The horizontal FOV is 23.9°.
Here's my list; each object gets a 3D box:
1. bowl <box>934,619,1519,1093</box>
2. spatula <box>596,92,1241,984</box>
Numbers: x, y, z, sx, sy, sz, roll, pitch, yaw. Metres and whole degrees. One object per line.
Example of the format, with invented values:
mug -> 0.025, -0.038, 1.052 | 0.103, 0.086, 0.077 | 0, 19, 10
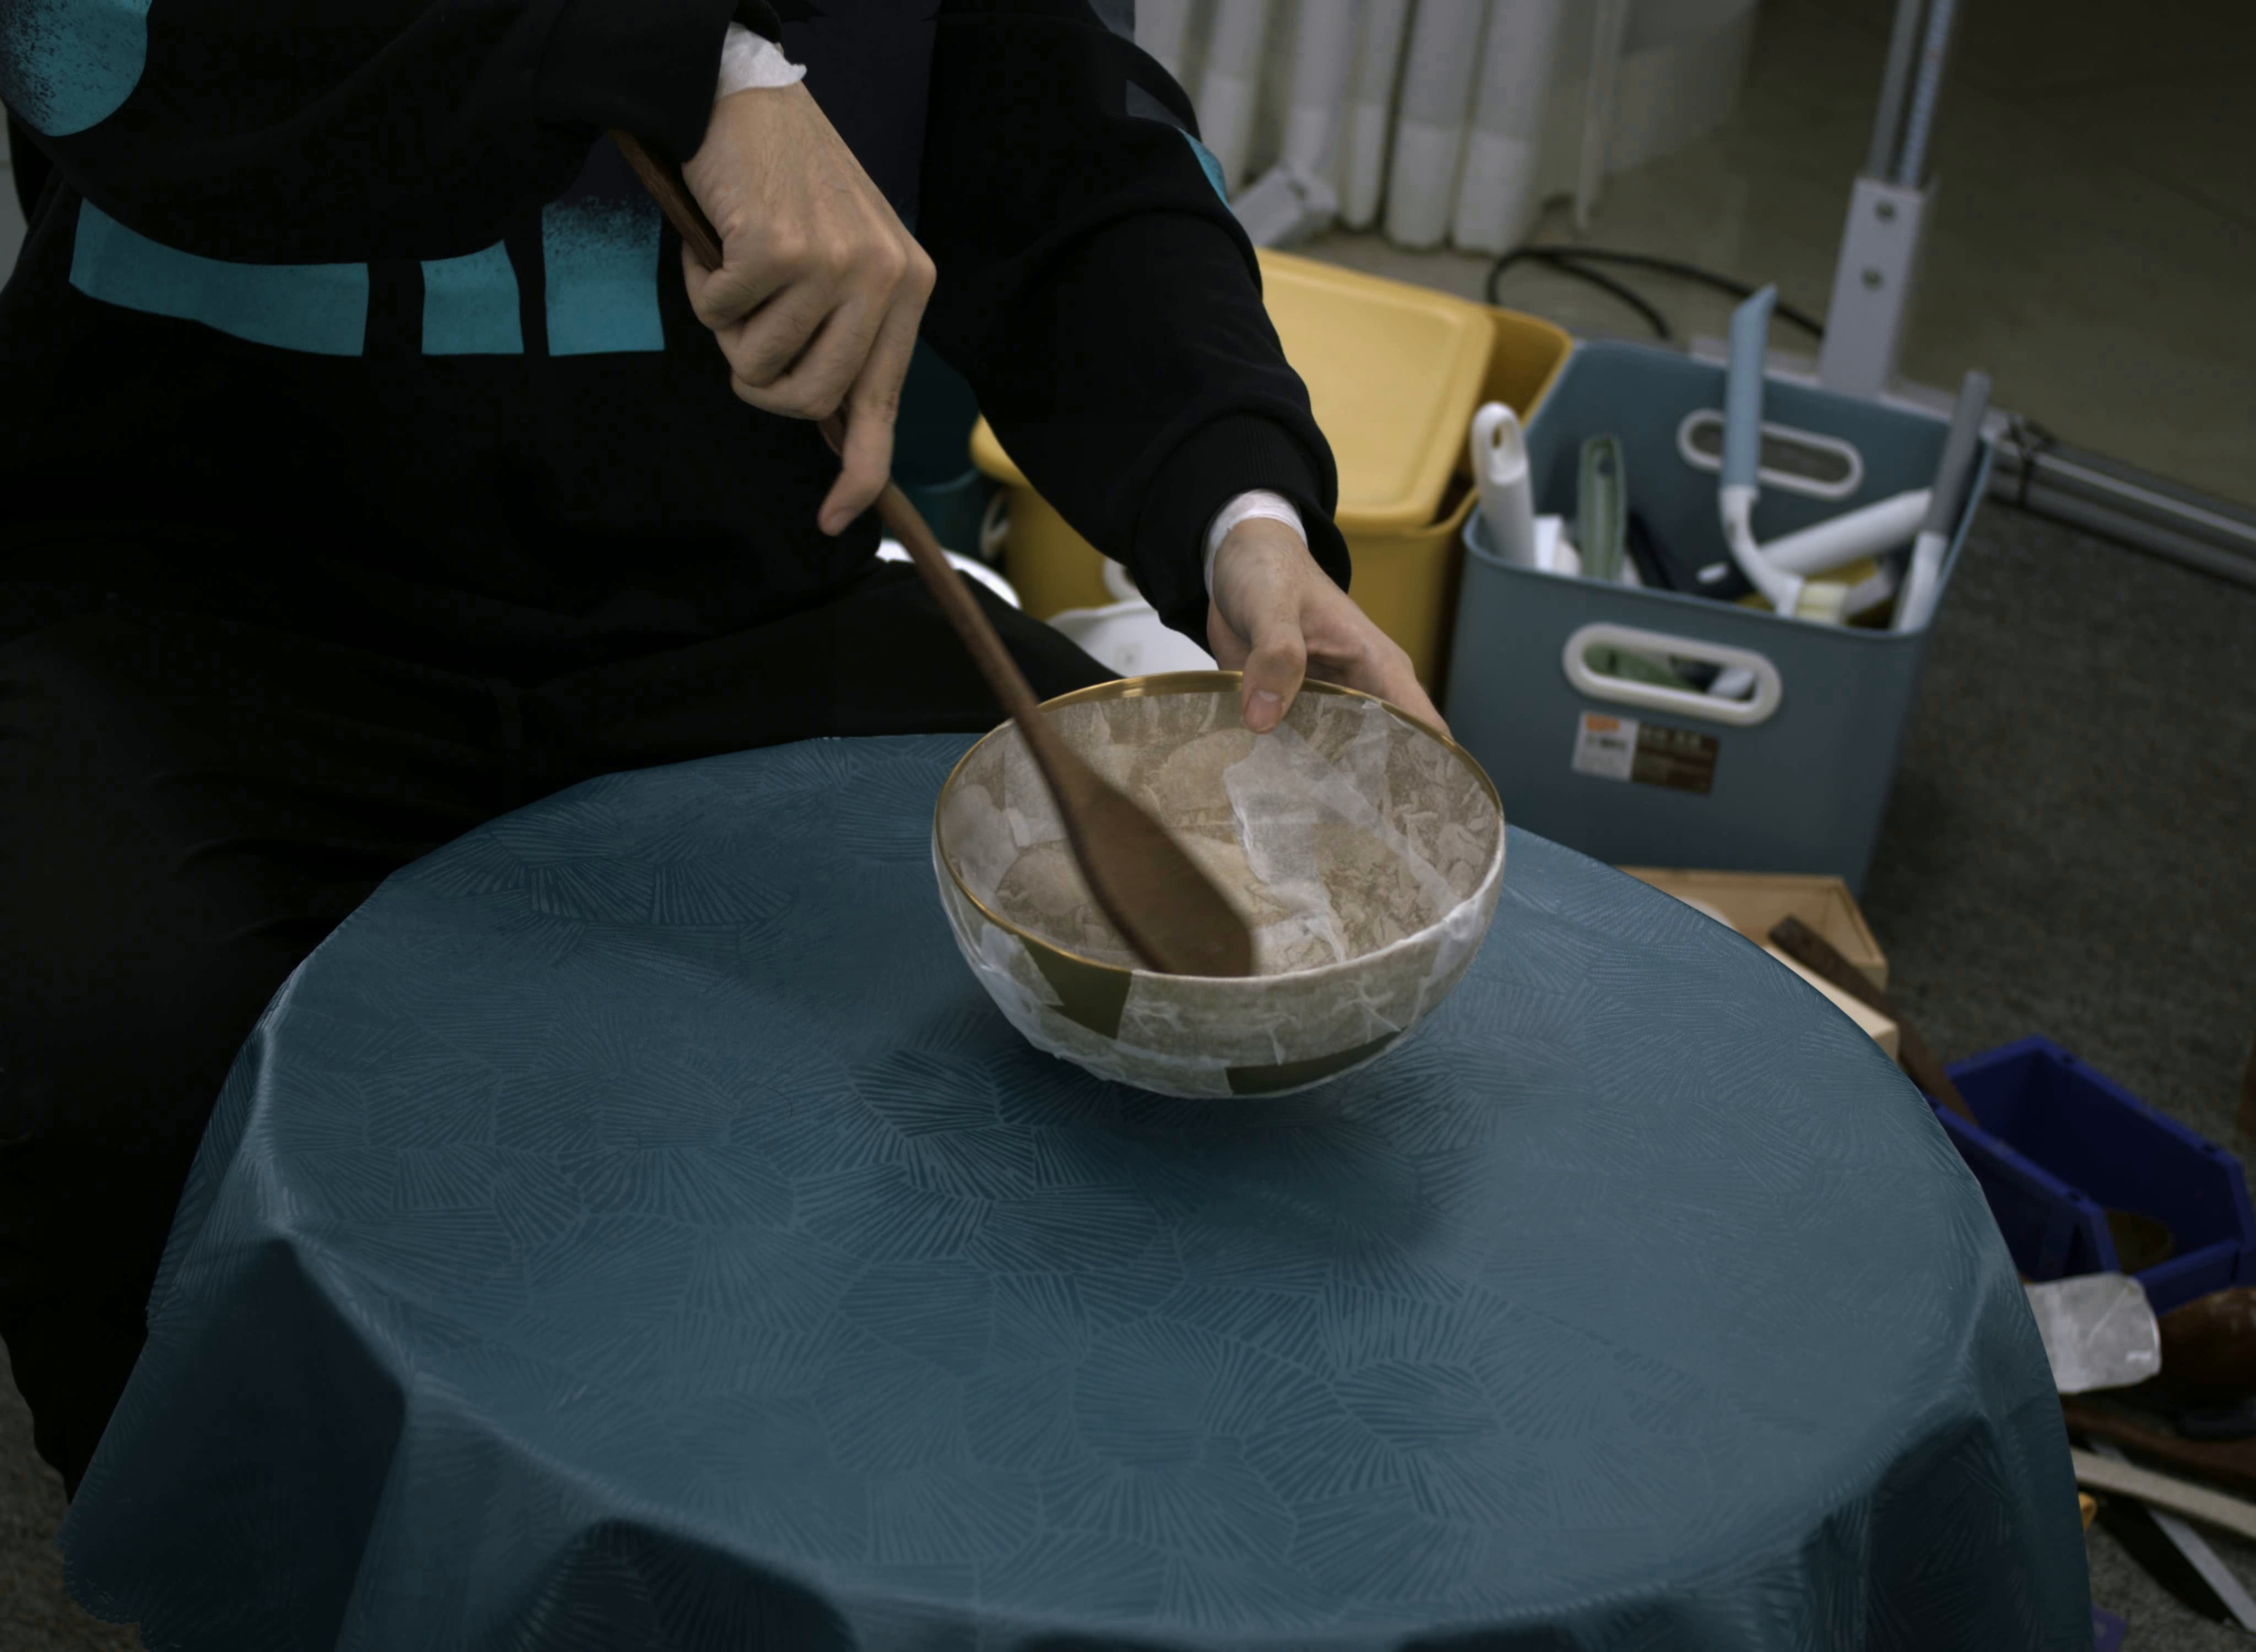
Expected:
bowl -> 0.033, 0.024, 1.870 | 0.214, 0.094, 0.216 | 1, 40, -1
spatula -> -0.072, -0.093, 1.844 | 0.016, 0.385, 0.096 | -31, 7, 19
